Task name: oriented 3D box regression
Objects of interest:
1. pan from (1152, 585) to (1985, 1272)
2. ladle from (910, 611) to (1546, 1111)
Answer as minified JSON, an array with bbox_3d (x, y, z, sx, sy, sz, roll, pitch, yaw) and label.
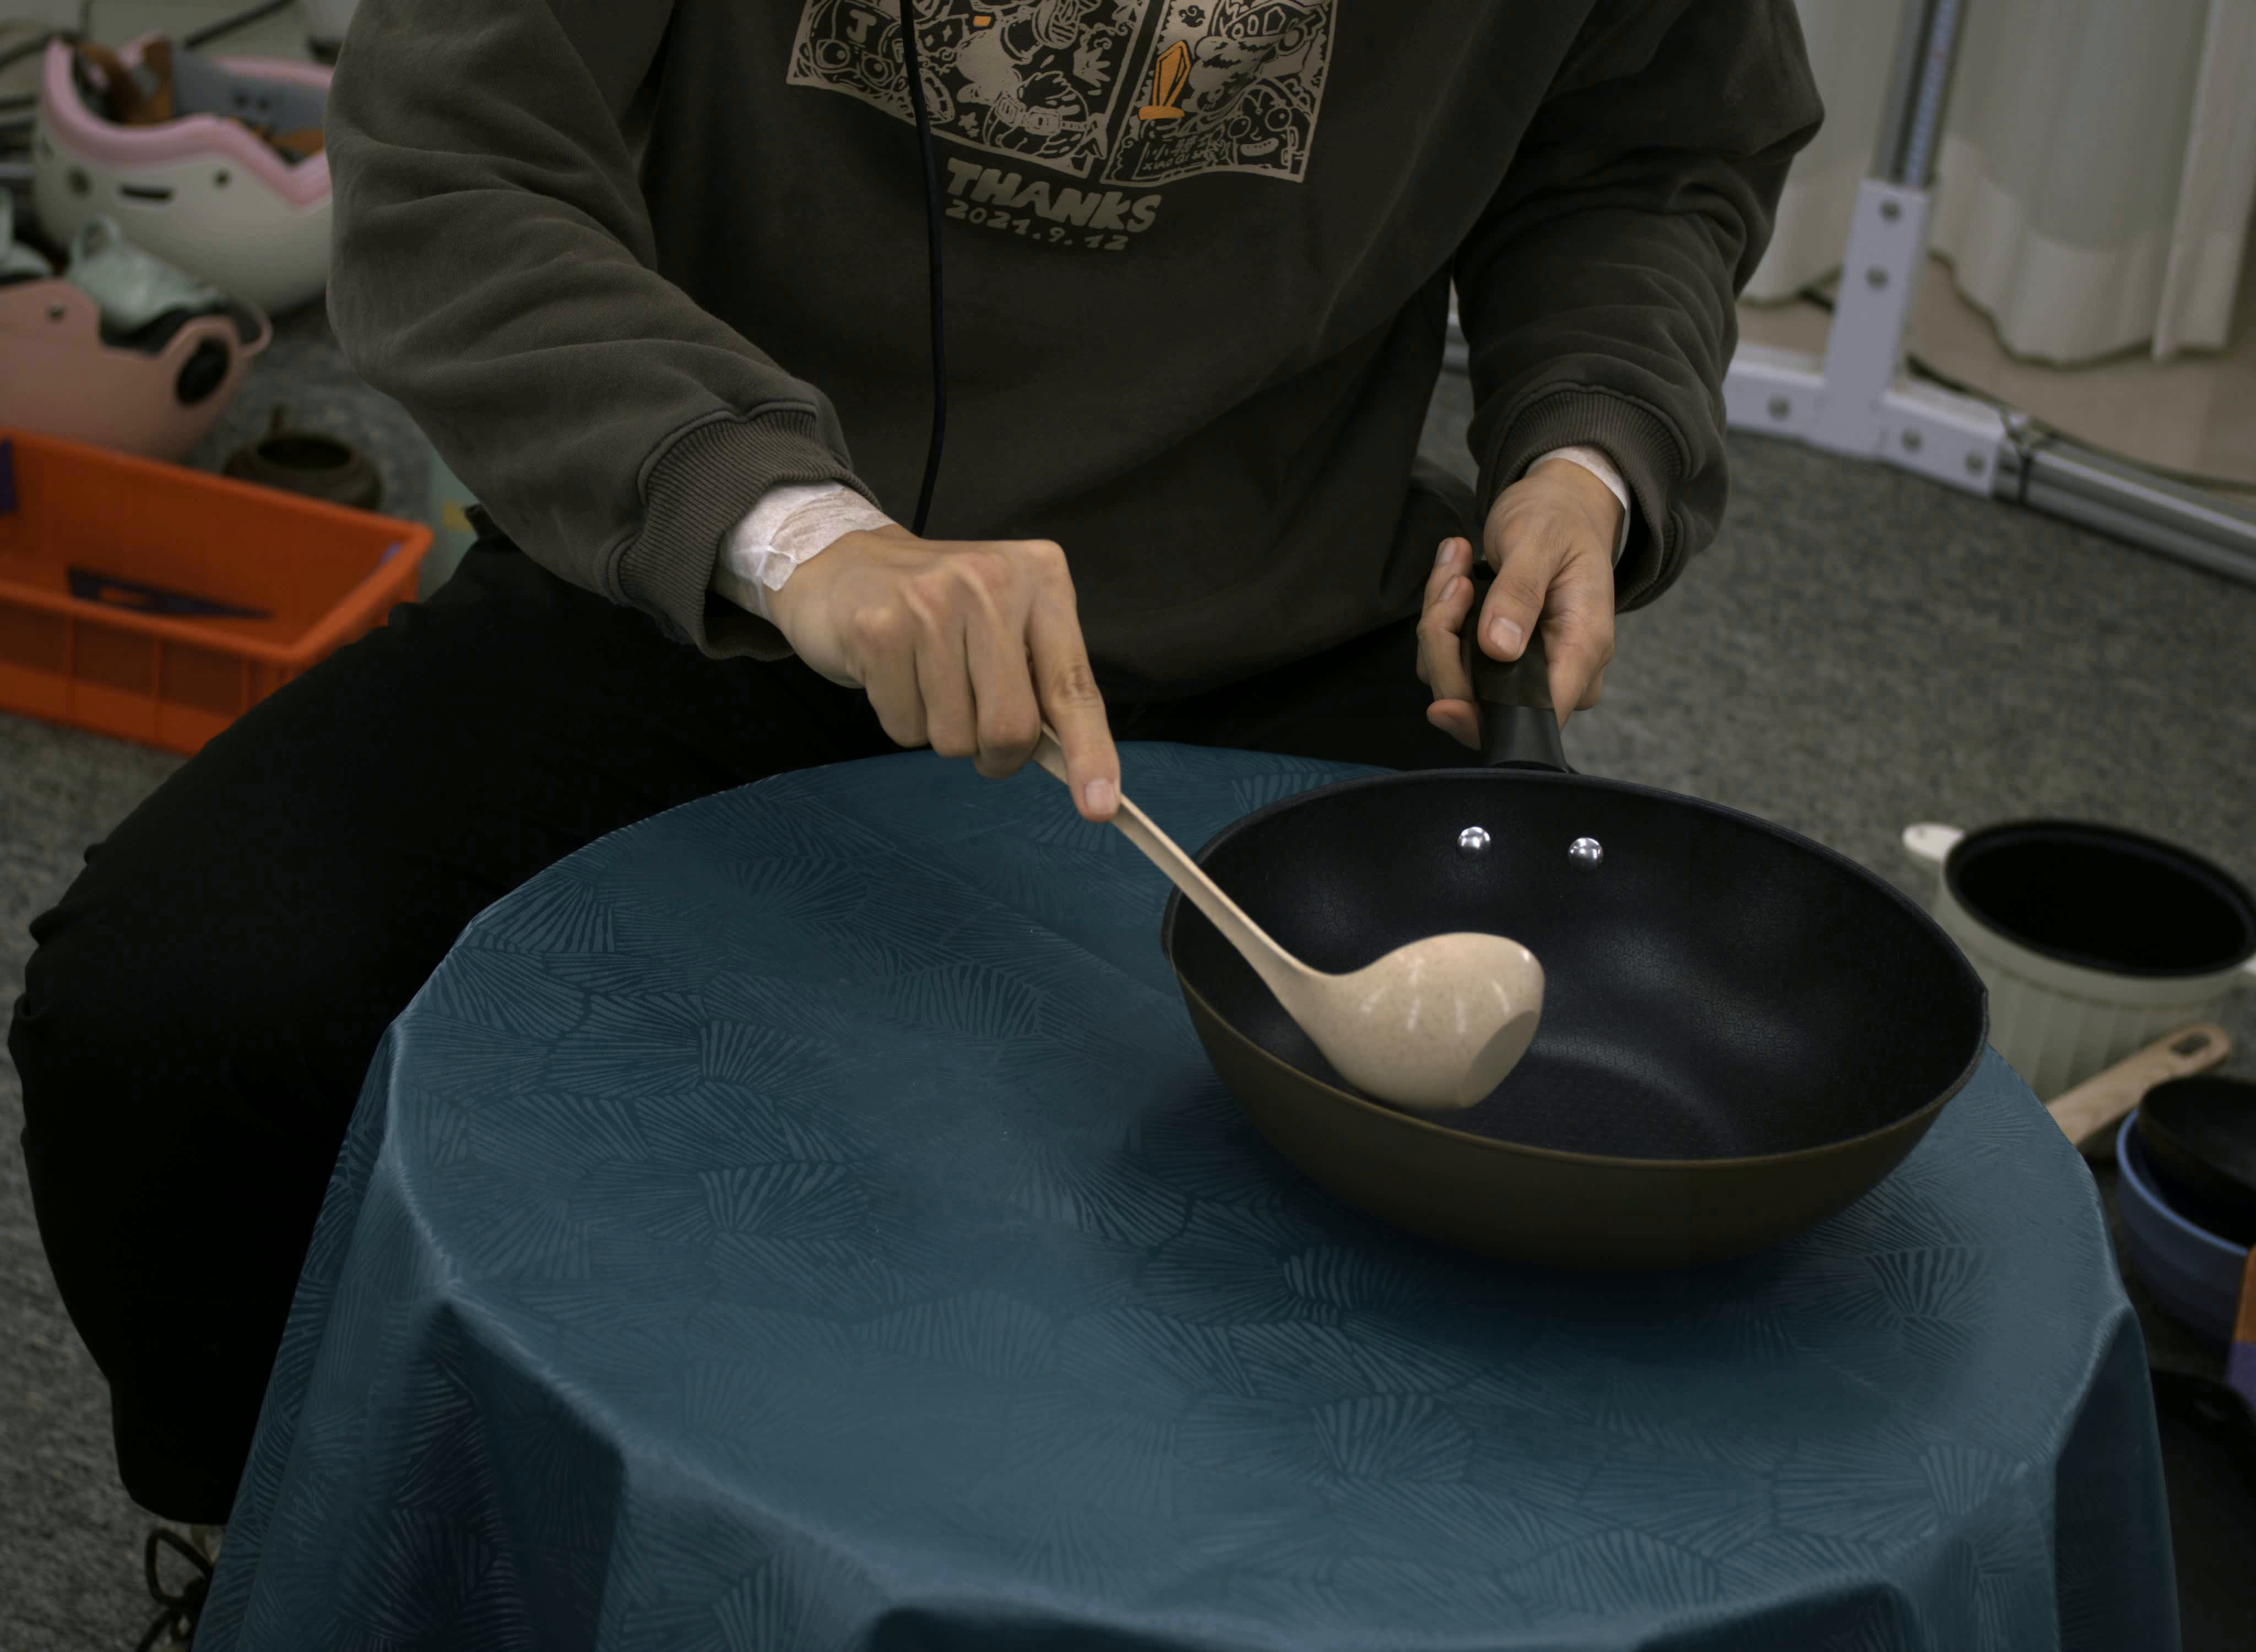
[{"bbox_3d":[0.144,0.038,1.916,0.287,0.086,0.466,4,26,-4],"label":"pan"},{"bbox_3d":[0.035,-0.004,1.771,0.072,0.072,0.256,-32,64,-26],"label":"ladle"}]
